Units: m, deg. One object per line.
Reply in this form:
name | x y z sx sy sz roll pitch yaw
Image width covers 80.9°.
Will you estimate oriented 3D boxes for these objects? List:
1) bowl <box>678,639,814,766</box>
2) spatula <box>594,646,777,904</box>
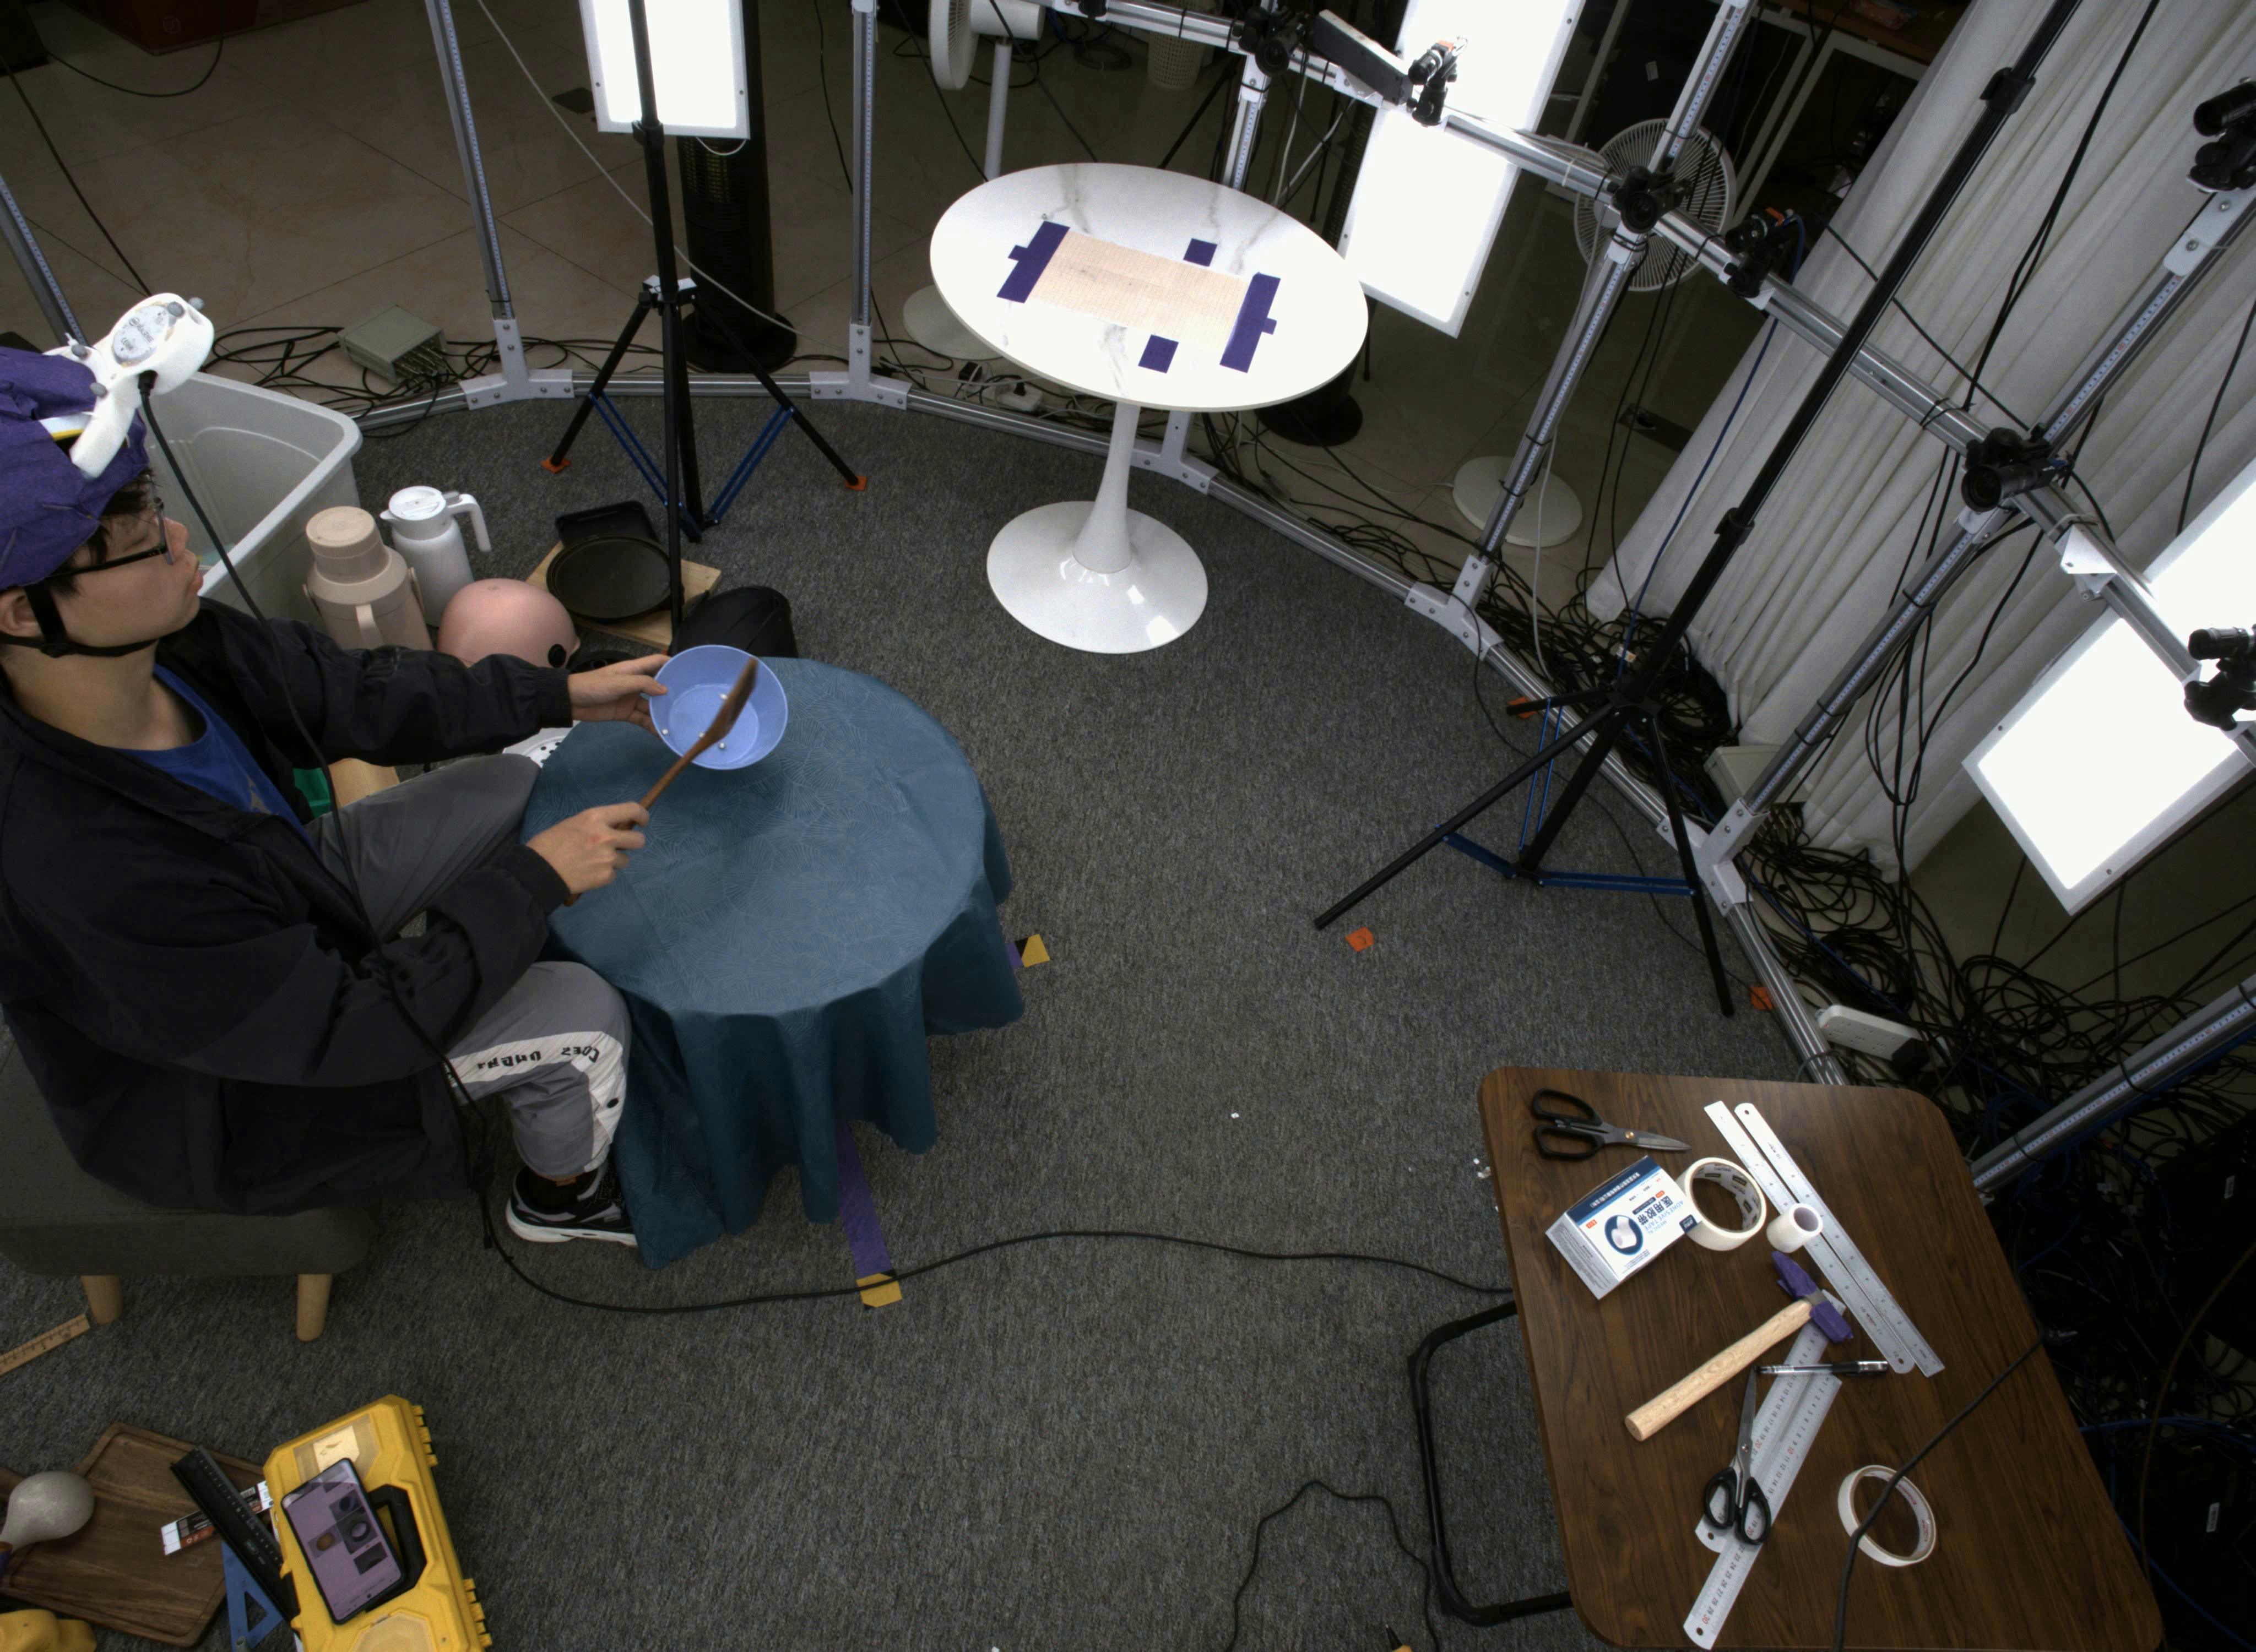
bowl | -0.510 -0.153 1.716 0.178 0.070 0.175 9 70 -23
spatula | -0.526 -0.063 1.553 0.024 0.086 0.385 29 63 4
